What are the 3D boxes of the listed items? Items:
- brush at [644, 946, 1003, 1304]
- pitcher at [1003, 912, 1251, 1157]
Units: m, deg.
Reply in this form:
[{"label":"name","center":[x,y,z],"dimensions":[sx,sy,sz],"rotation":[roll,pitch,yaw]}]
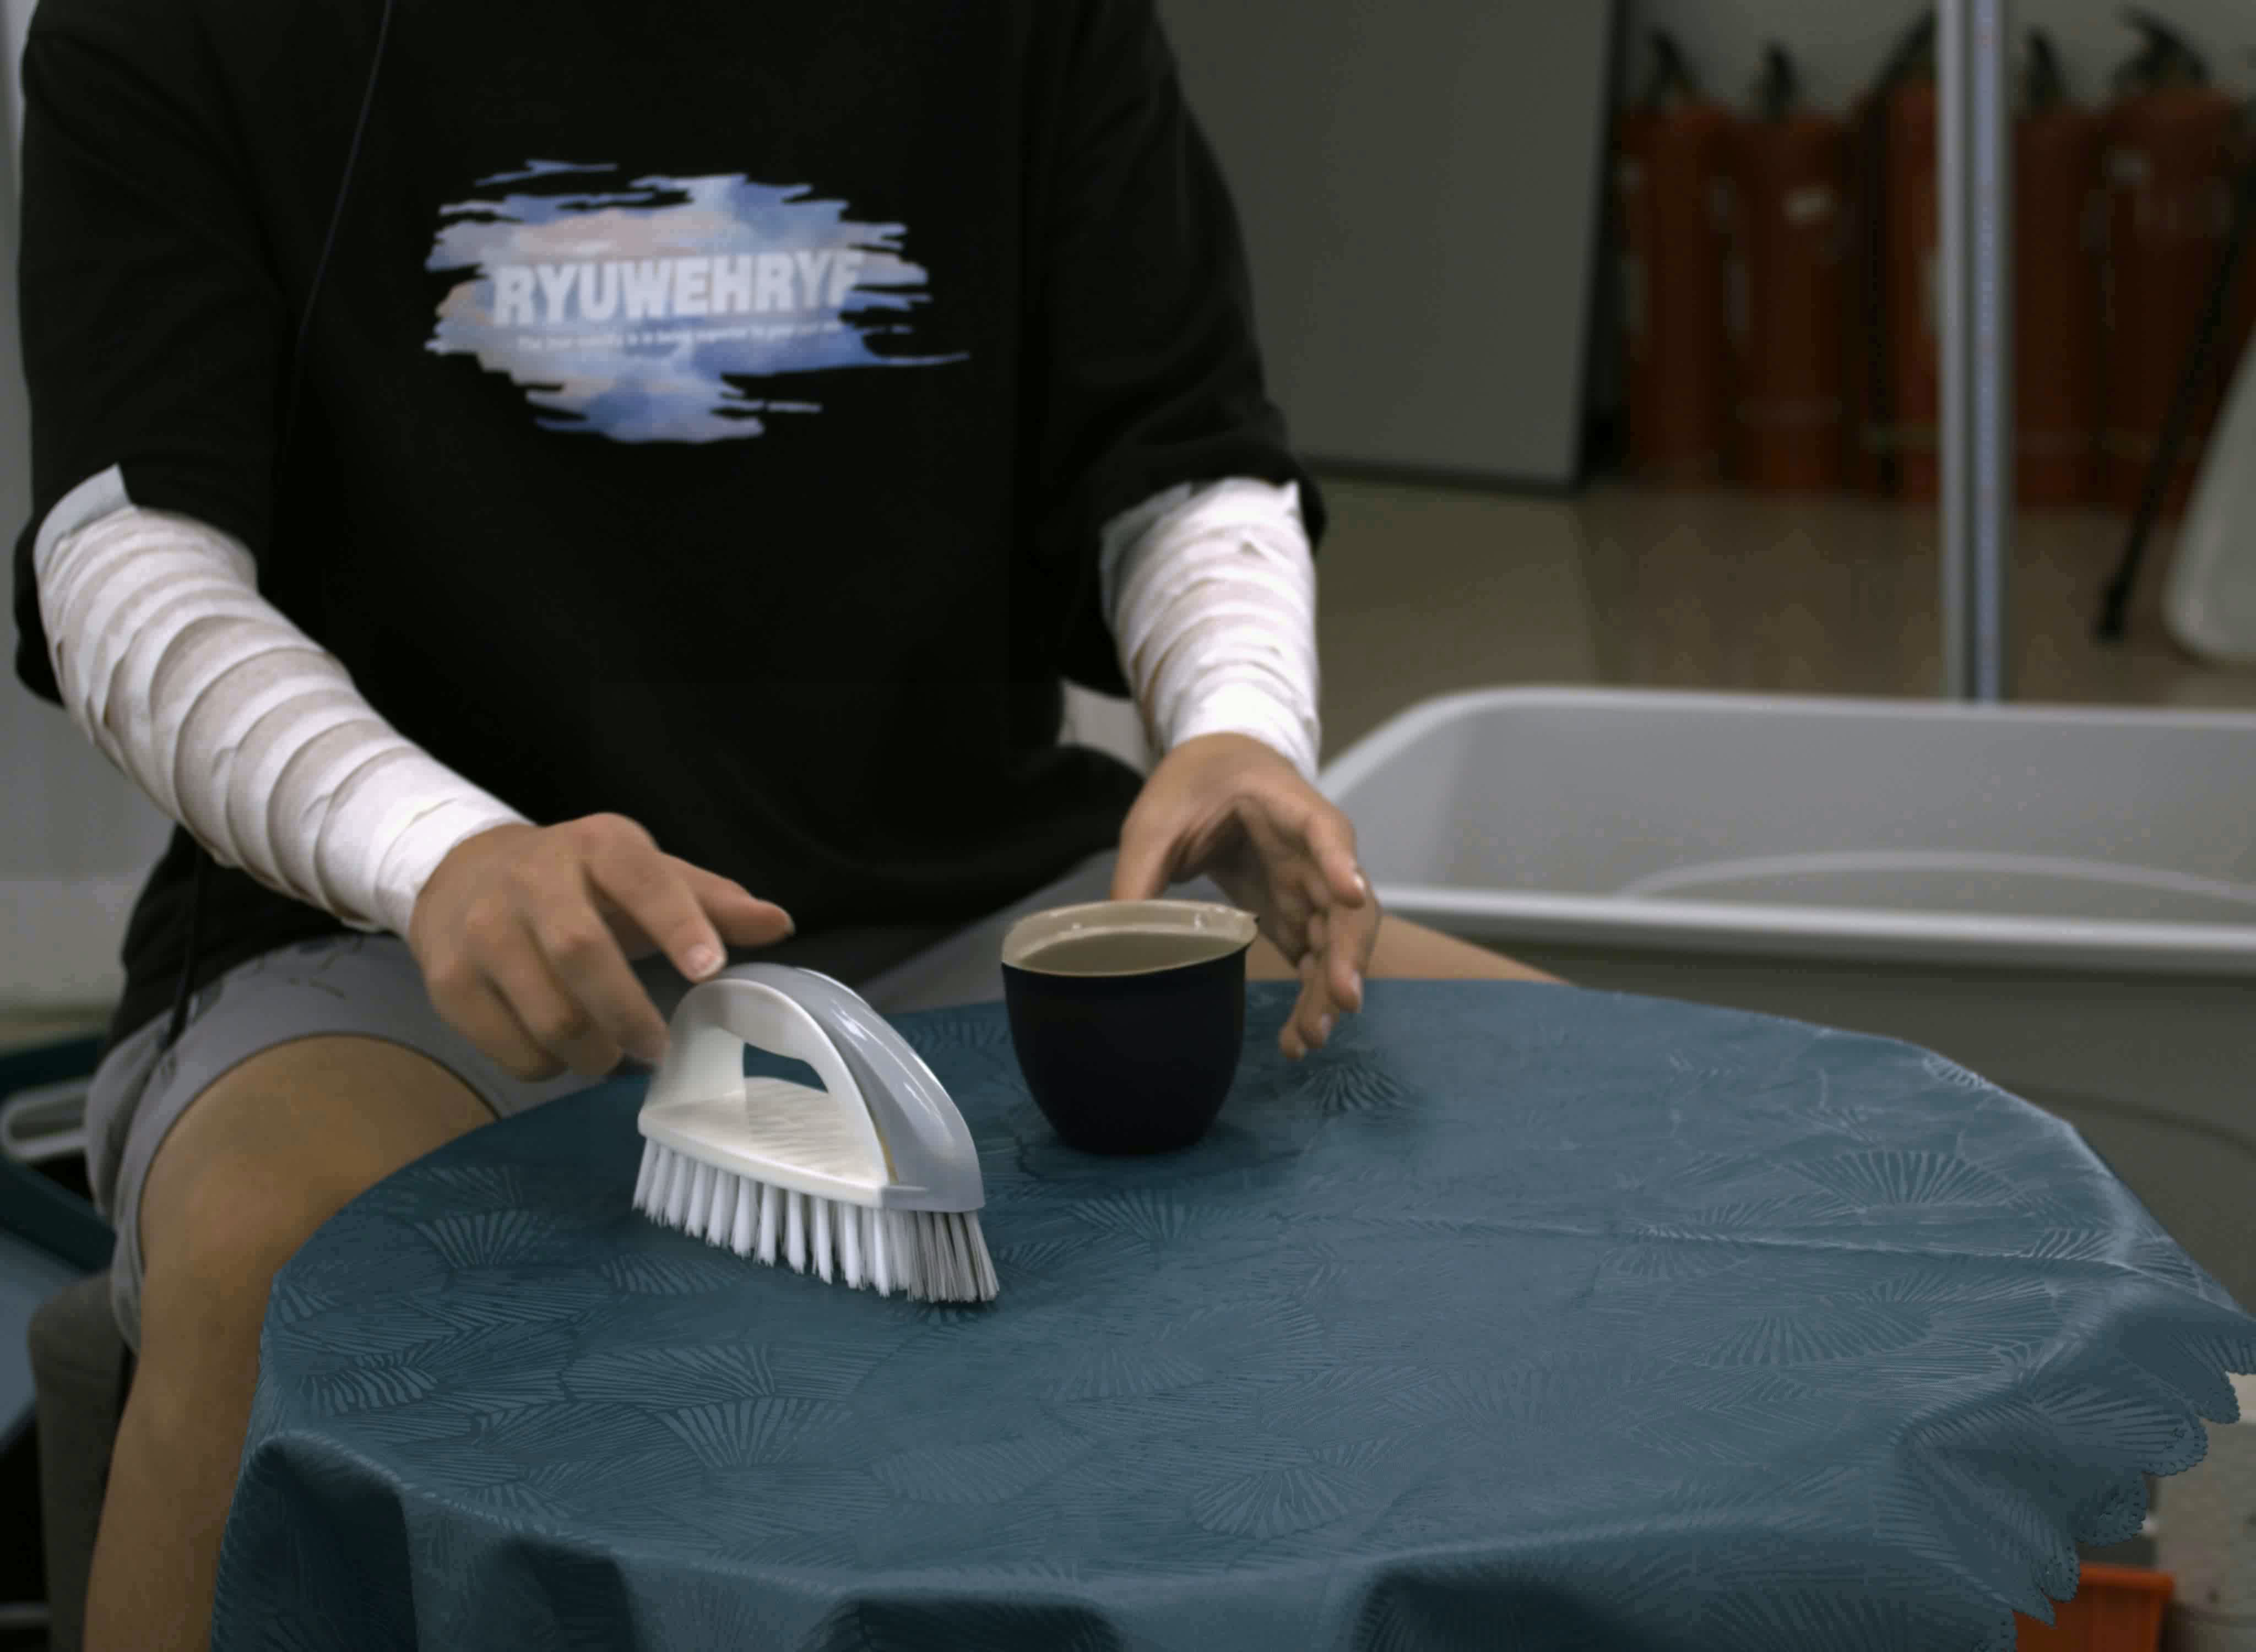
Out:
[{"label":"brush","center":[-0.094,0.092,1.726],"dimensions":[0.060,0.095,0.177],"rotation":[-15,20,-32]},{"label":"pitcher","center":[0.003,0.071,1.826],"dimensions":[0.094,0.072,0.084],"rotation":[-8,13,-32]}]
